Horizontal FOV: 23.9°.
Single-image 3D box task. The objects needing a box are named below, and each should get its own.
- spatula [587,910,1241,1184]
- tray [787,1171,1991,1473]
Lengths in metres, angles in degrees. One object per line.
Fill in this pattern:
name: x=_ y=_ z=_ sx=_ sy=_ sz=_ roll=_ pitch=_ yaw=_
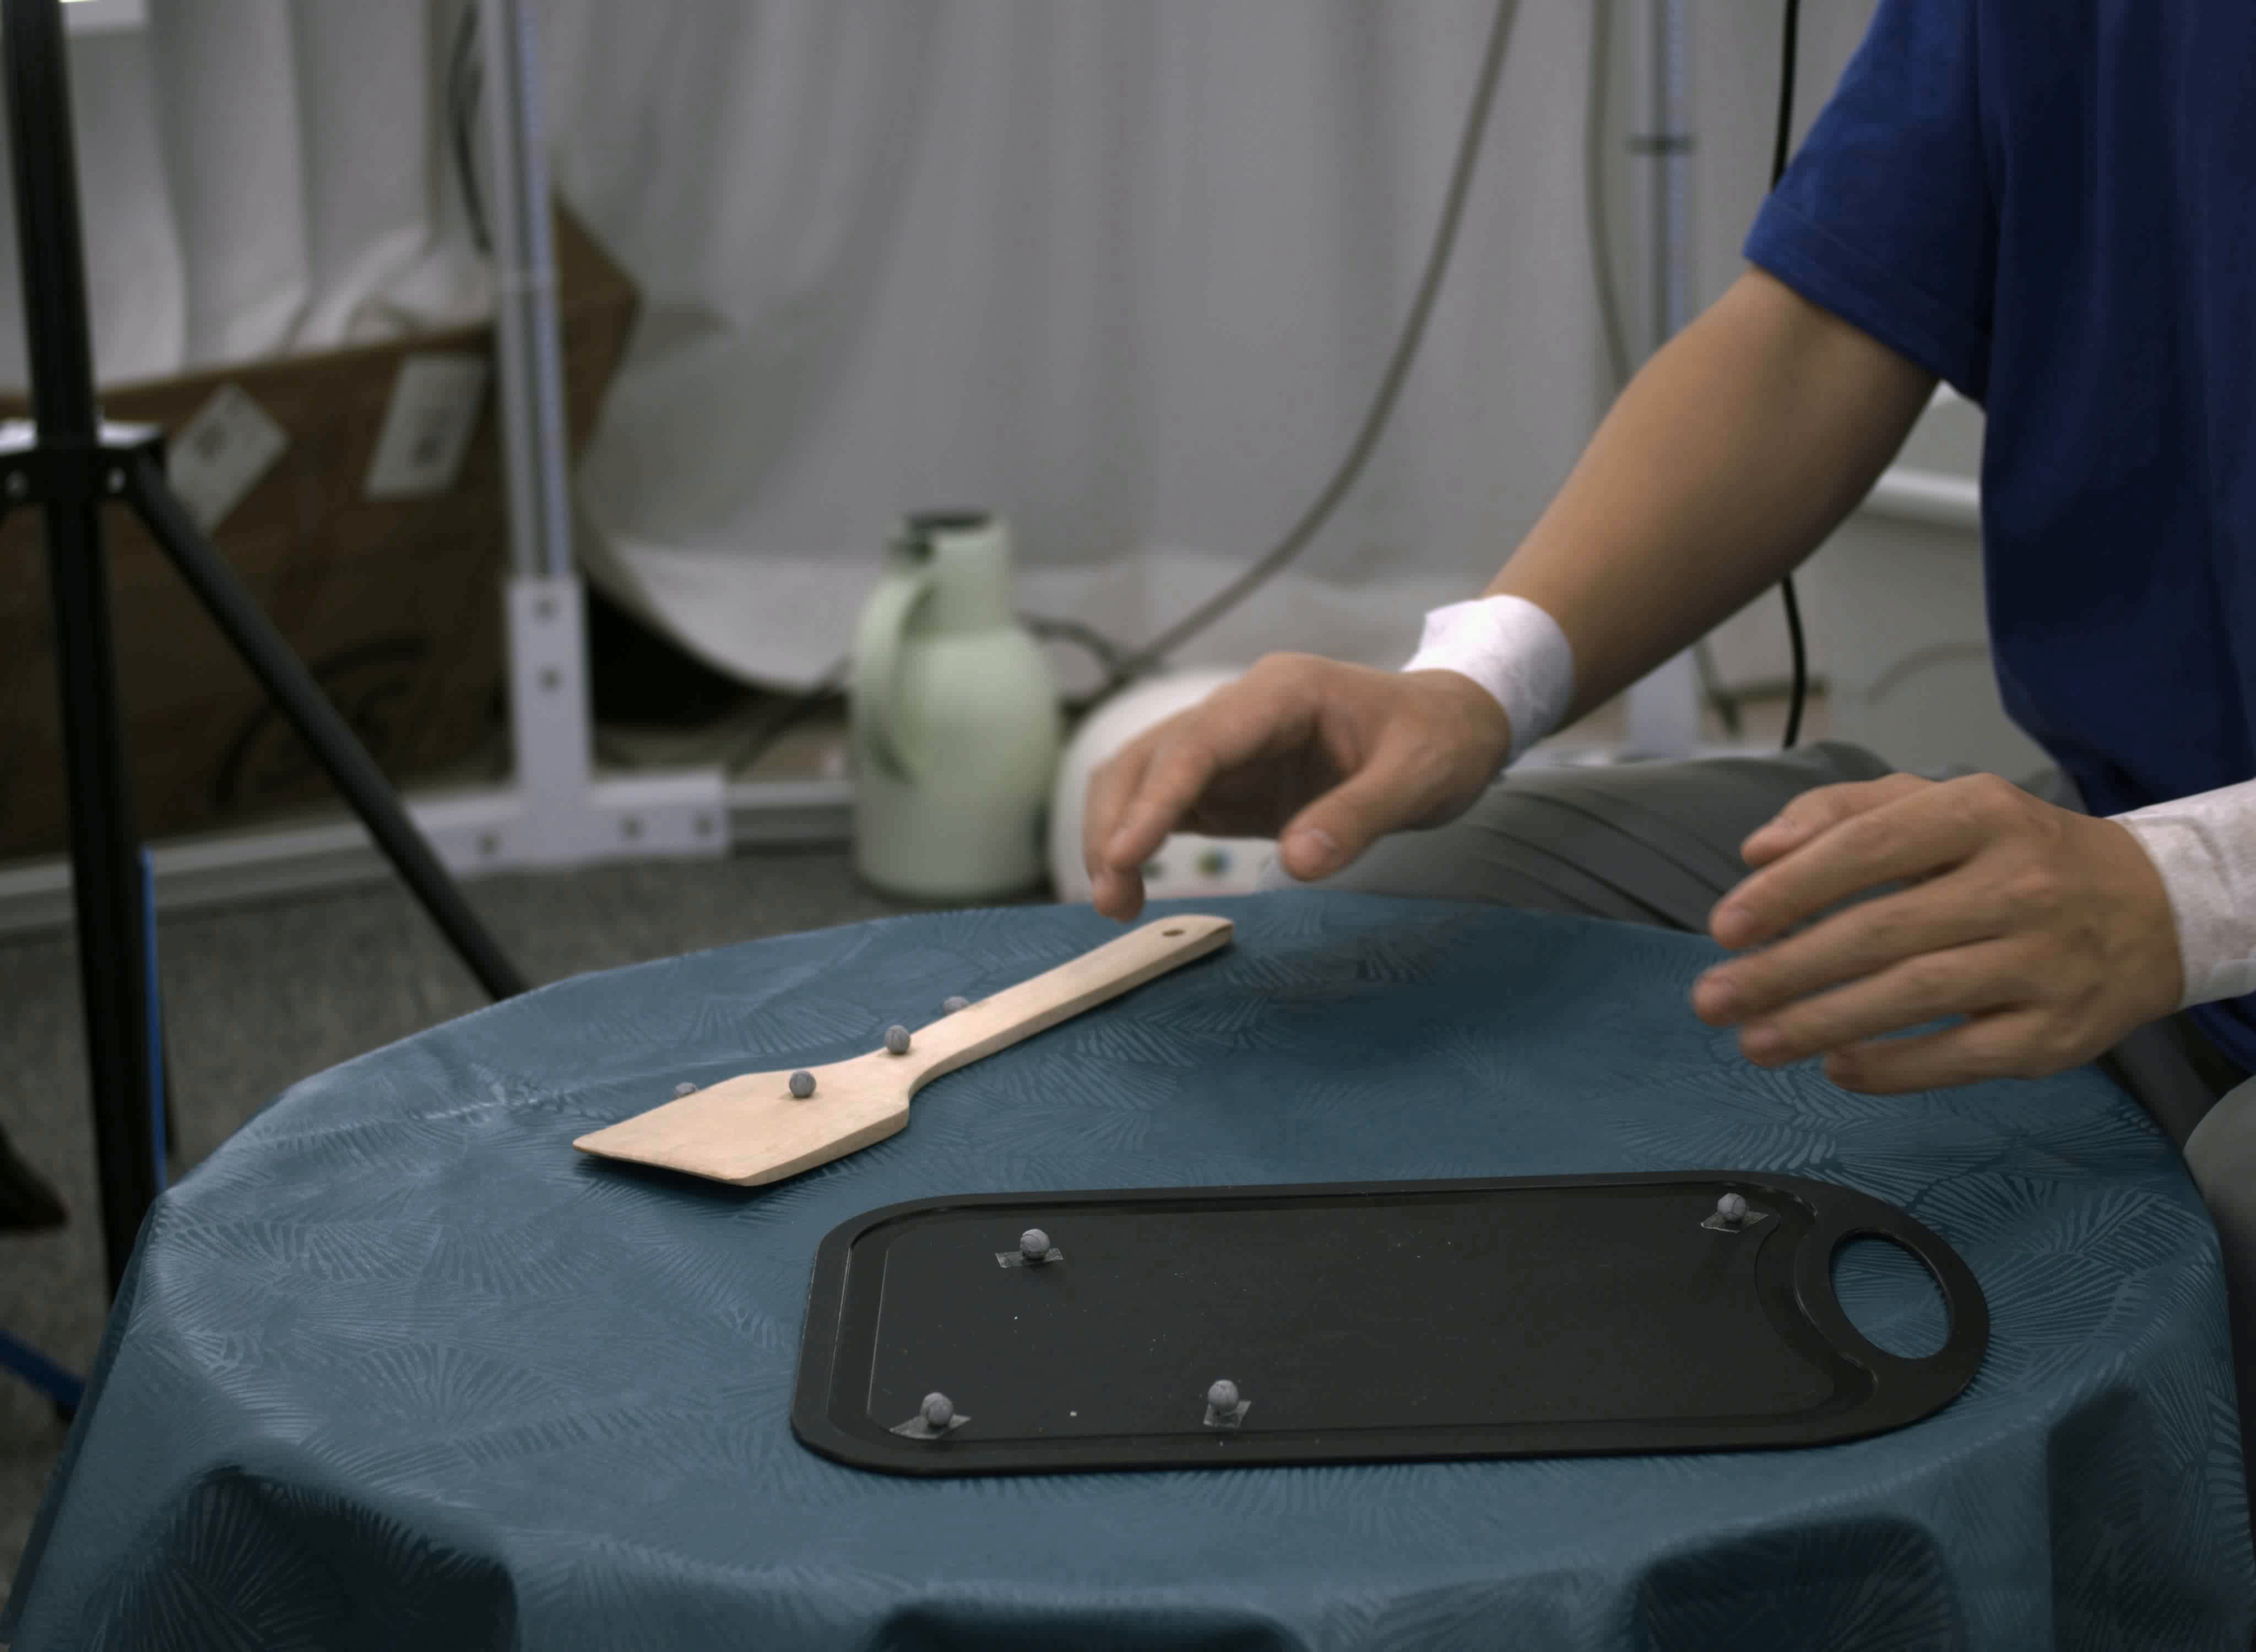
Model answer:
spatula: x=-0.054 y=0.067 z=1.693 sx=0.074 sy=0.010 sz=0.287 roll=7 pitch=19 yaw=36
tray: x=0.073 y=0.132 z=1.449 sx=0.325 sy=0.010 sz=0.211 roll=-2 pitch=16 yaw=3
